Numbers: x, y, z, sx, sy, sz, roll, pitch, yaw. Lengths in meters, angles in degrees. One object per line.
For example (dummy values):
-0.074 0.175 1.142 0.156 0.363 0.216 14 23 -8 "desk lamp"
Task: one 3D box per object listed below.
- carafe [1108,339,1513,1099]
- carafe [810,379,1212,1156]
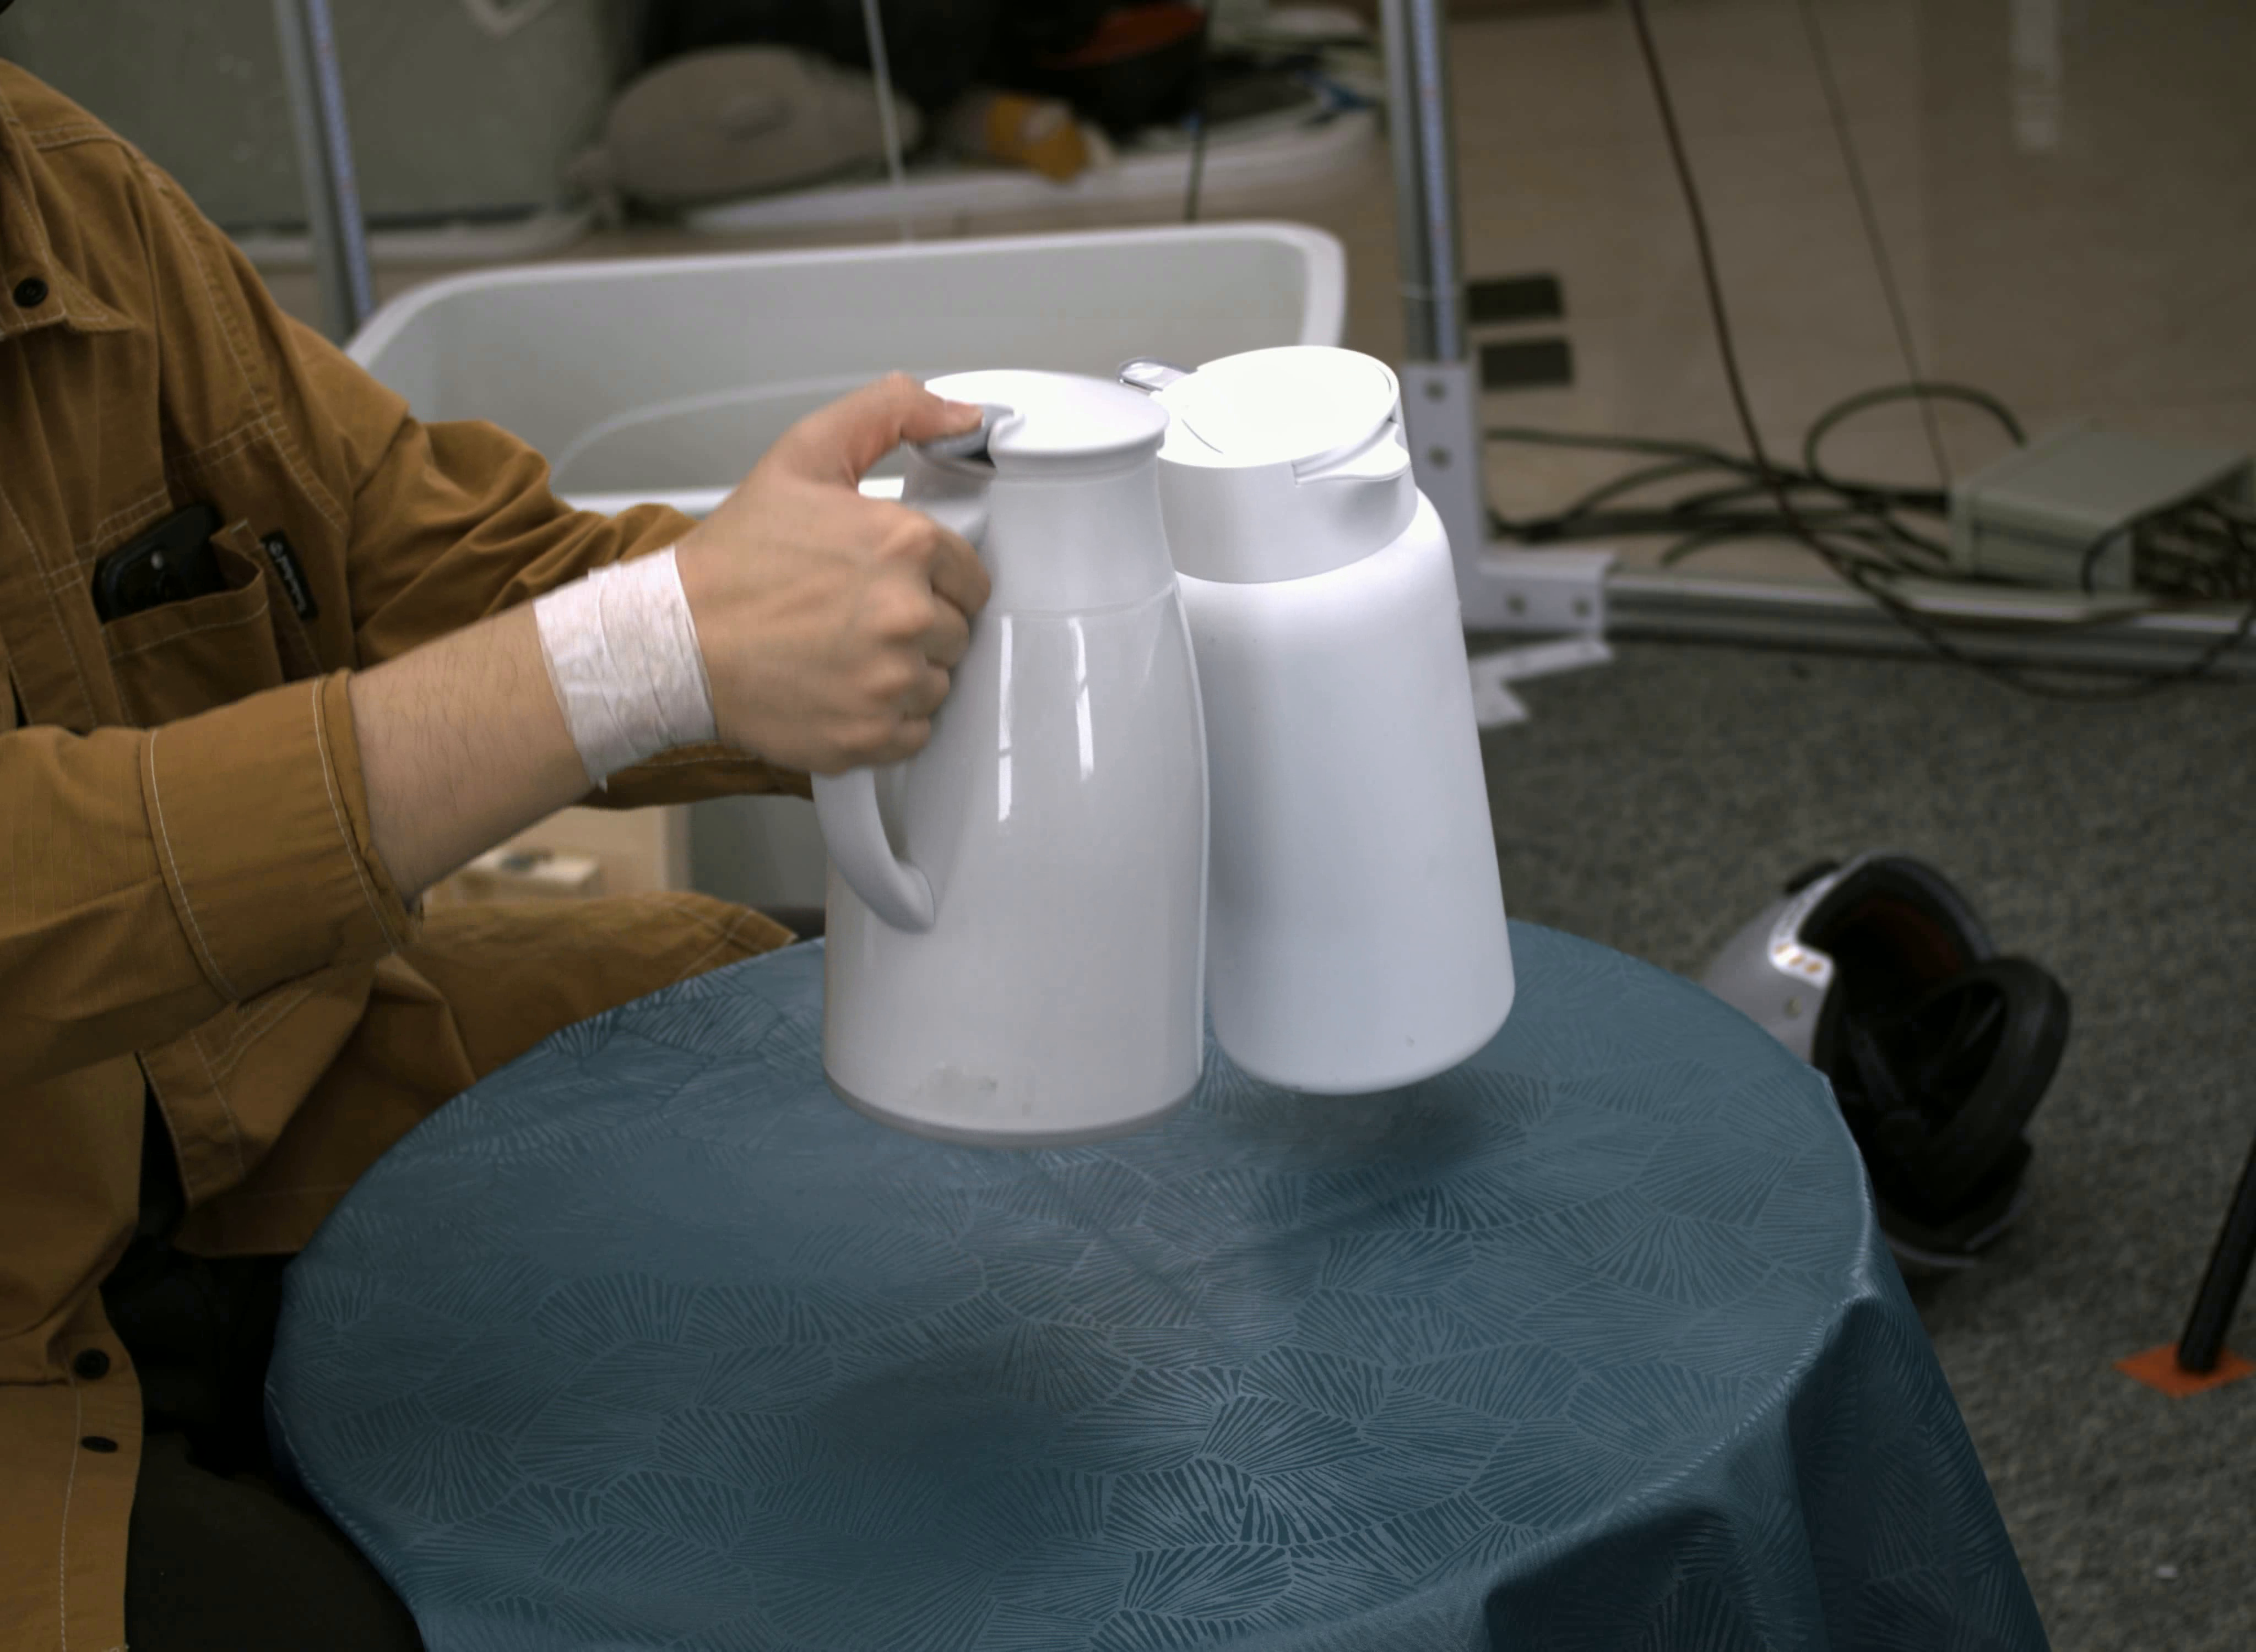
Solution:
0.058 -0.042 2.112 0.122 0.273 0.171 -34 37 -32 "carafe"
-0.046 -0.021 1.910 0.131 0.252 0.166 17 27 33 "carafe"
